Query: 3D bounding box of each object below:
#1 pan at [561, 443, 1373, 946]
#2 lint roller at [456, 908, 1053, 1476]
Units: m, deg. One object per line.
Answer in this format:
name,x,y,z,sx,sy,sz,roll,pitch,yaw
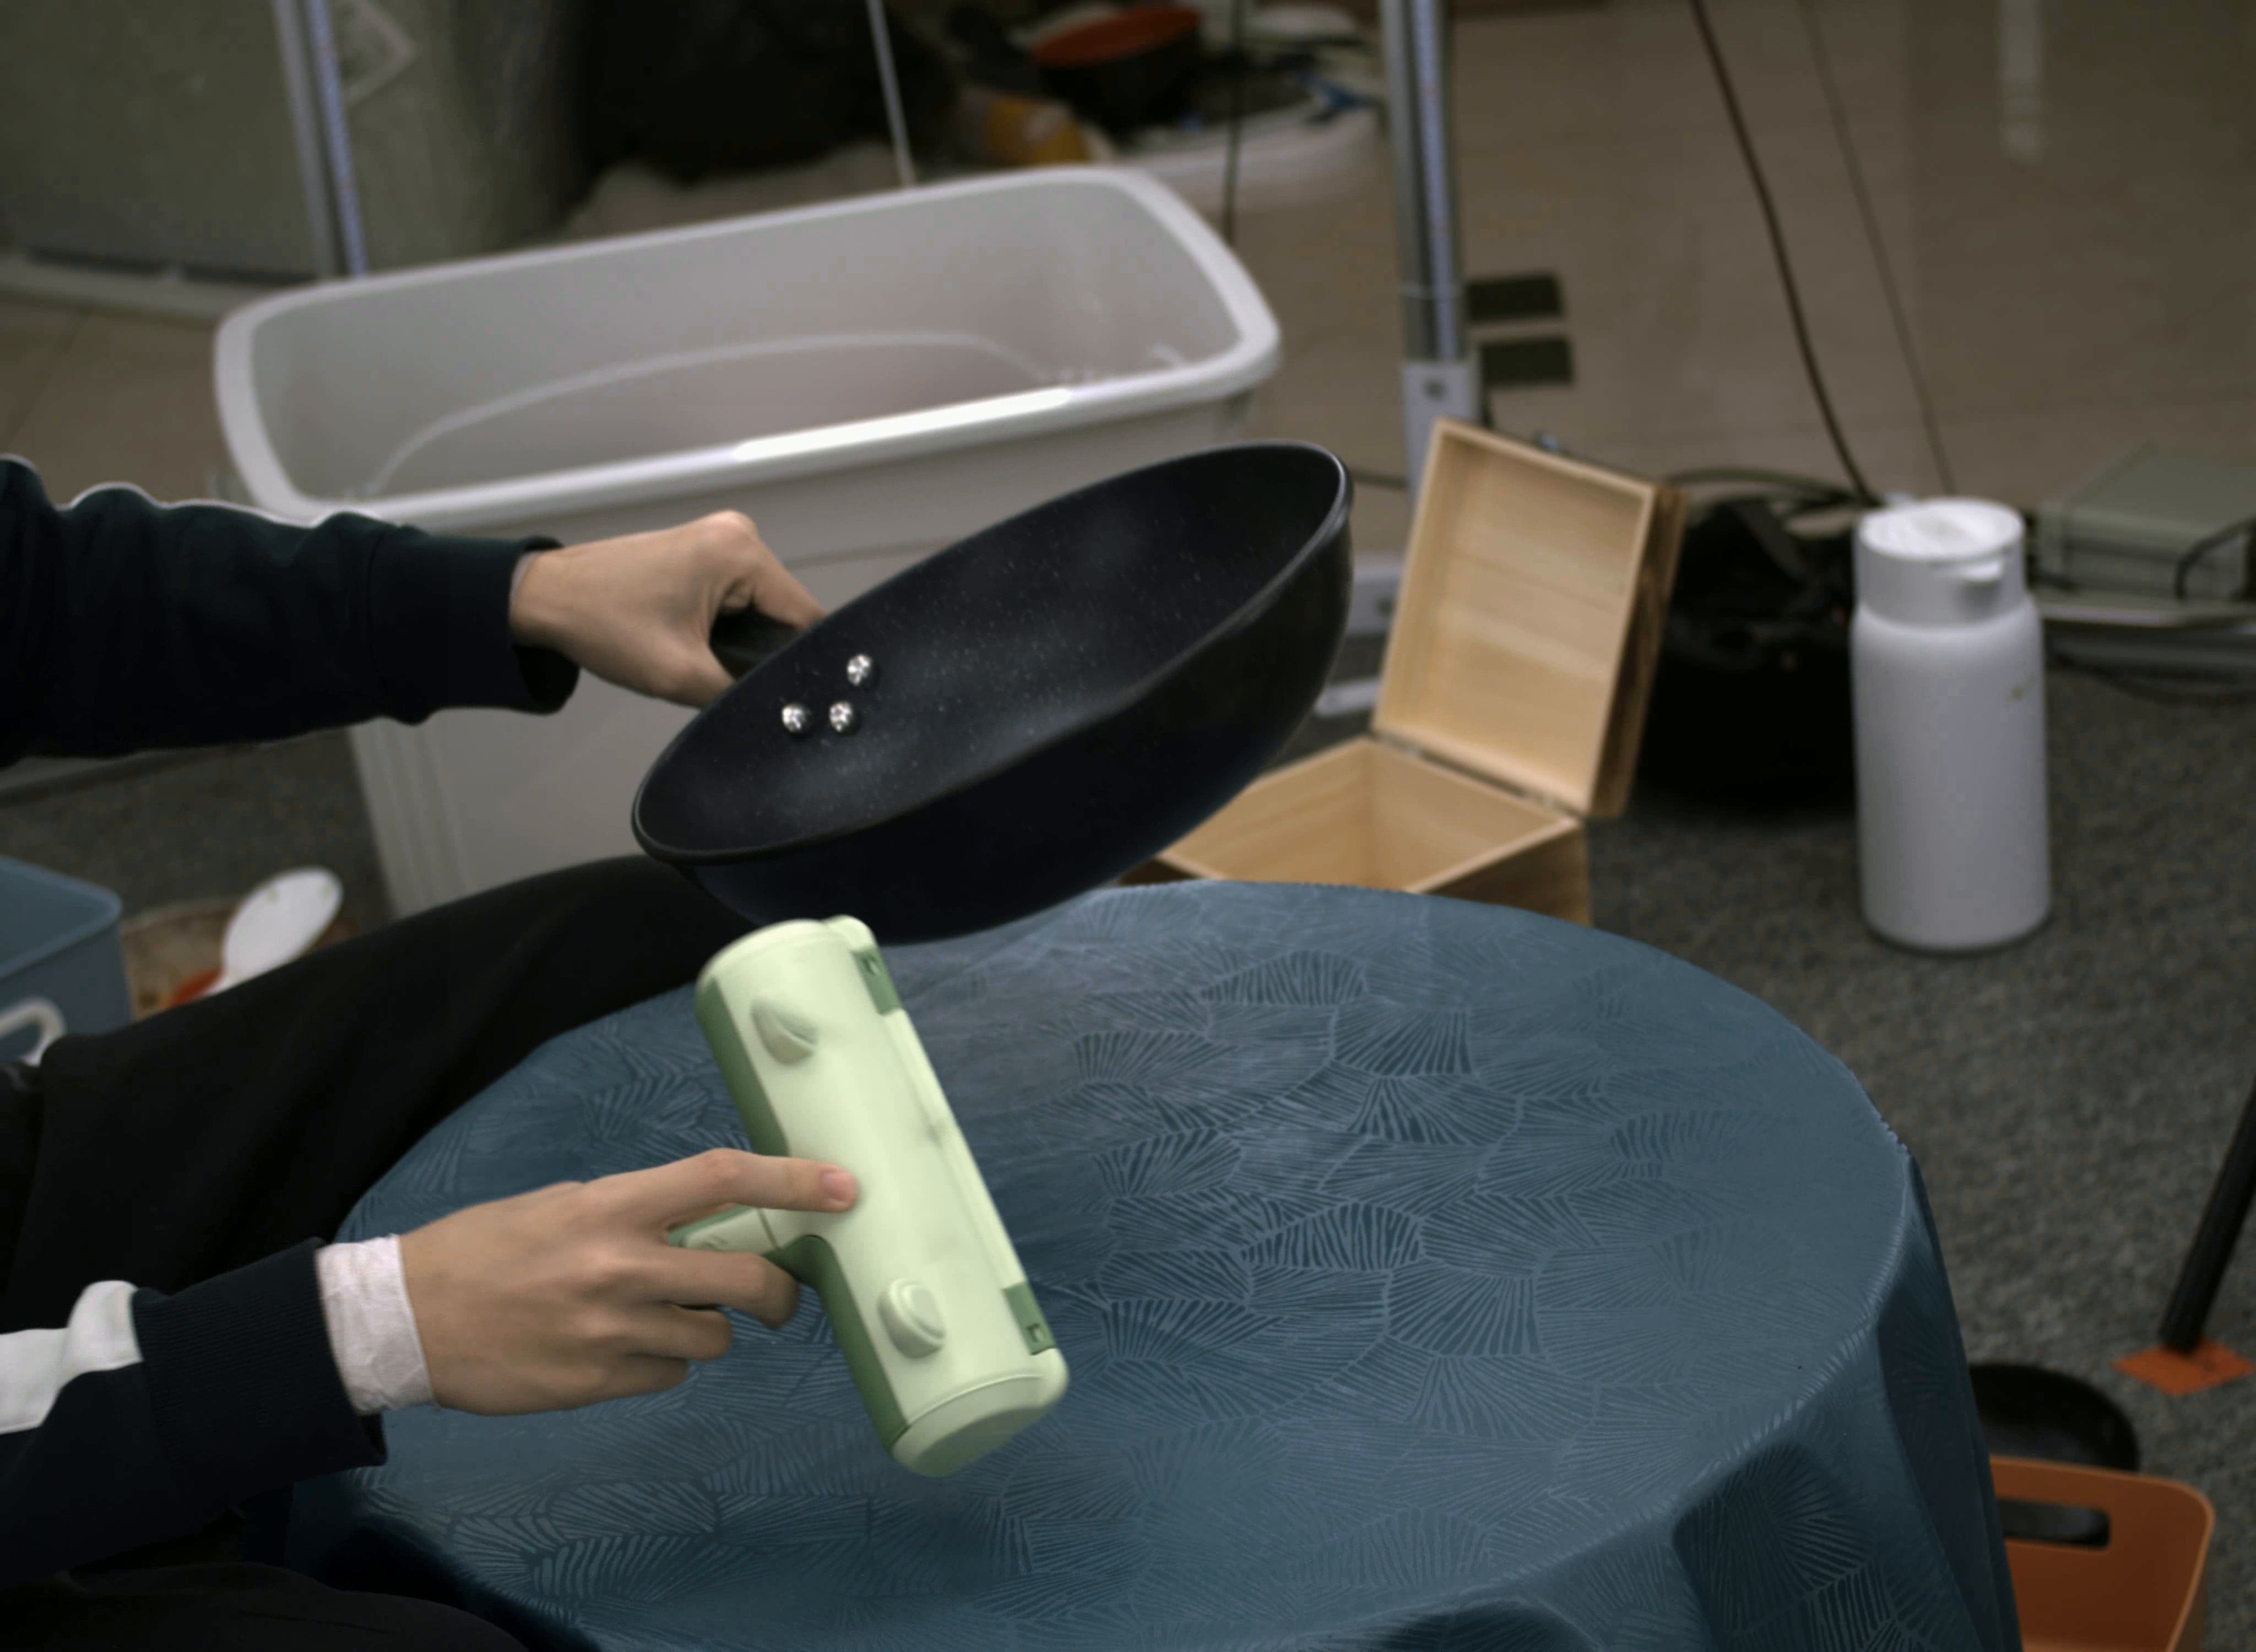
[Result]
pan,-0.084,-0.048,2.243,0.307,0.113,0.475,-36,20,-27
lint roller,-0.144,0.141,1.932,0.182,0.083,0.197,-21,72,-11
